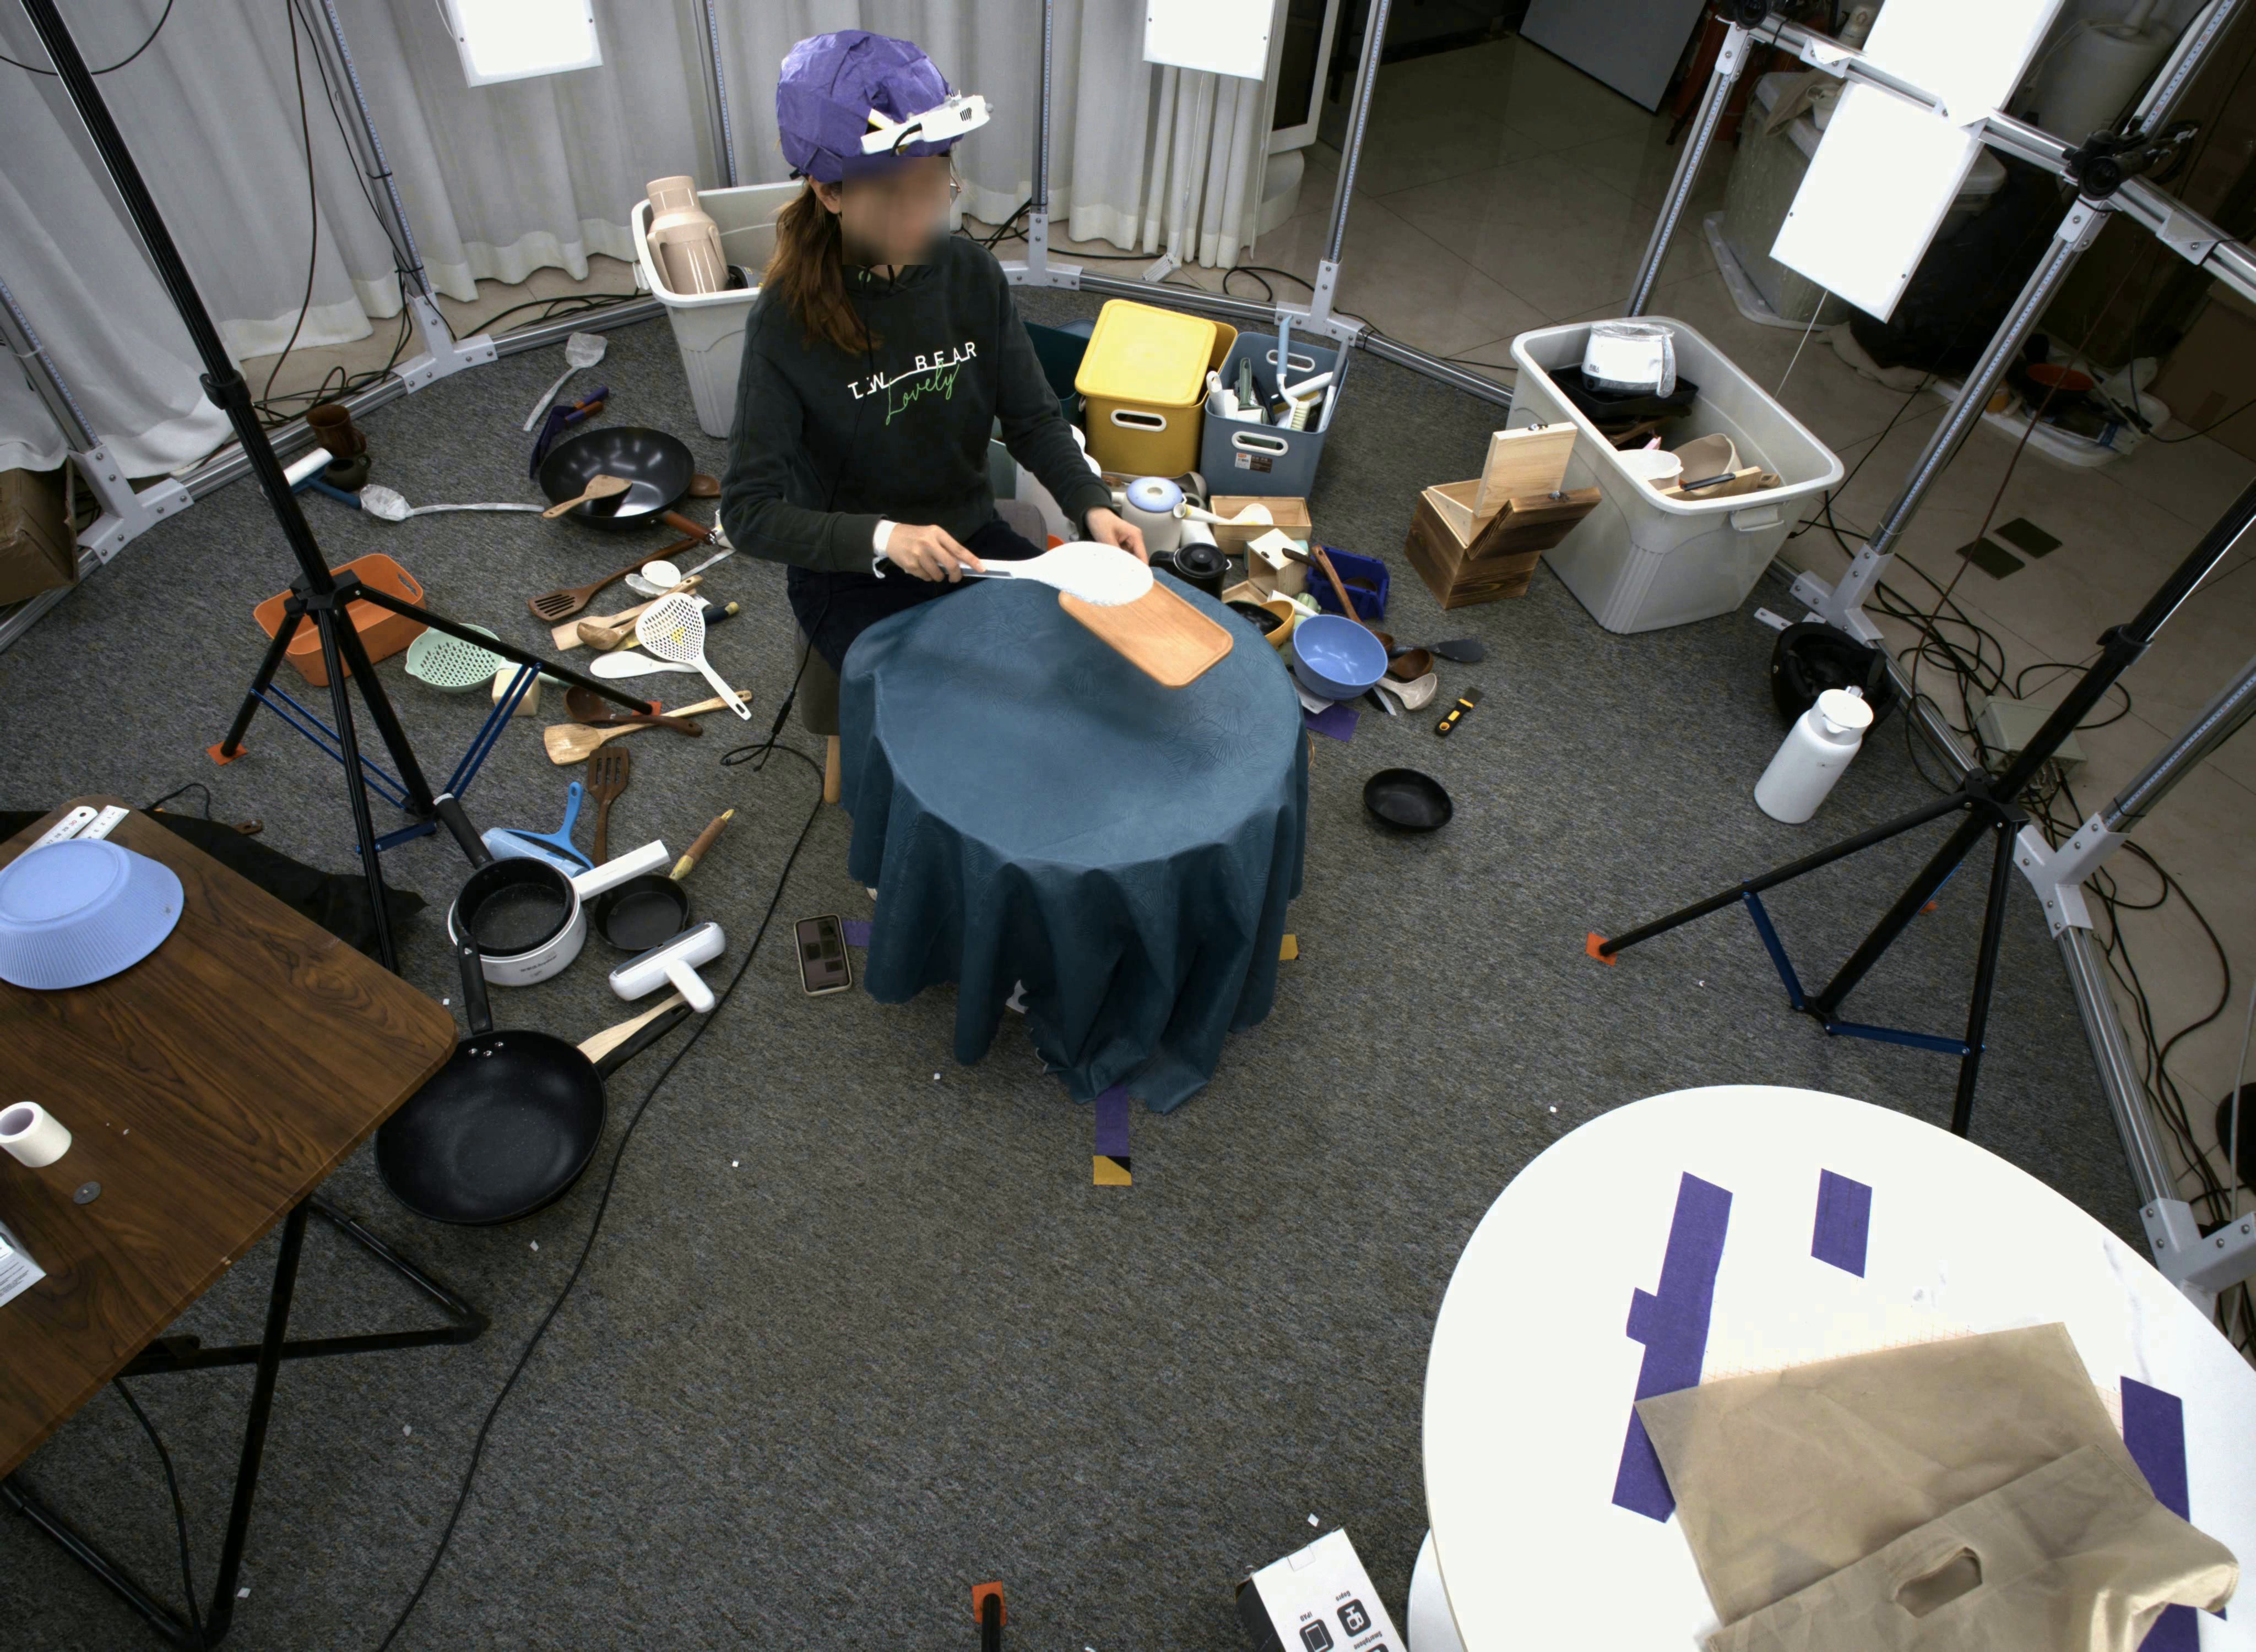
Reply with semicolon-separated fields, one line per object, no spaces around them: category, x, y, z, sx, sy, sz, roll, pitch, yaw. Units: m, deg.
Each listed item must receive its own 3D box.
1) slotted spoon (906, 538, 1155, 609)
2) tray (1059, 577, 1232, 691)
slotted spoon;-0.134;-0.337;1.710;0.351;0.133;0.046;11;66;20
tray;0.022;-0.280;1.782;0.131;0.022;0.255;-36;58;-23
